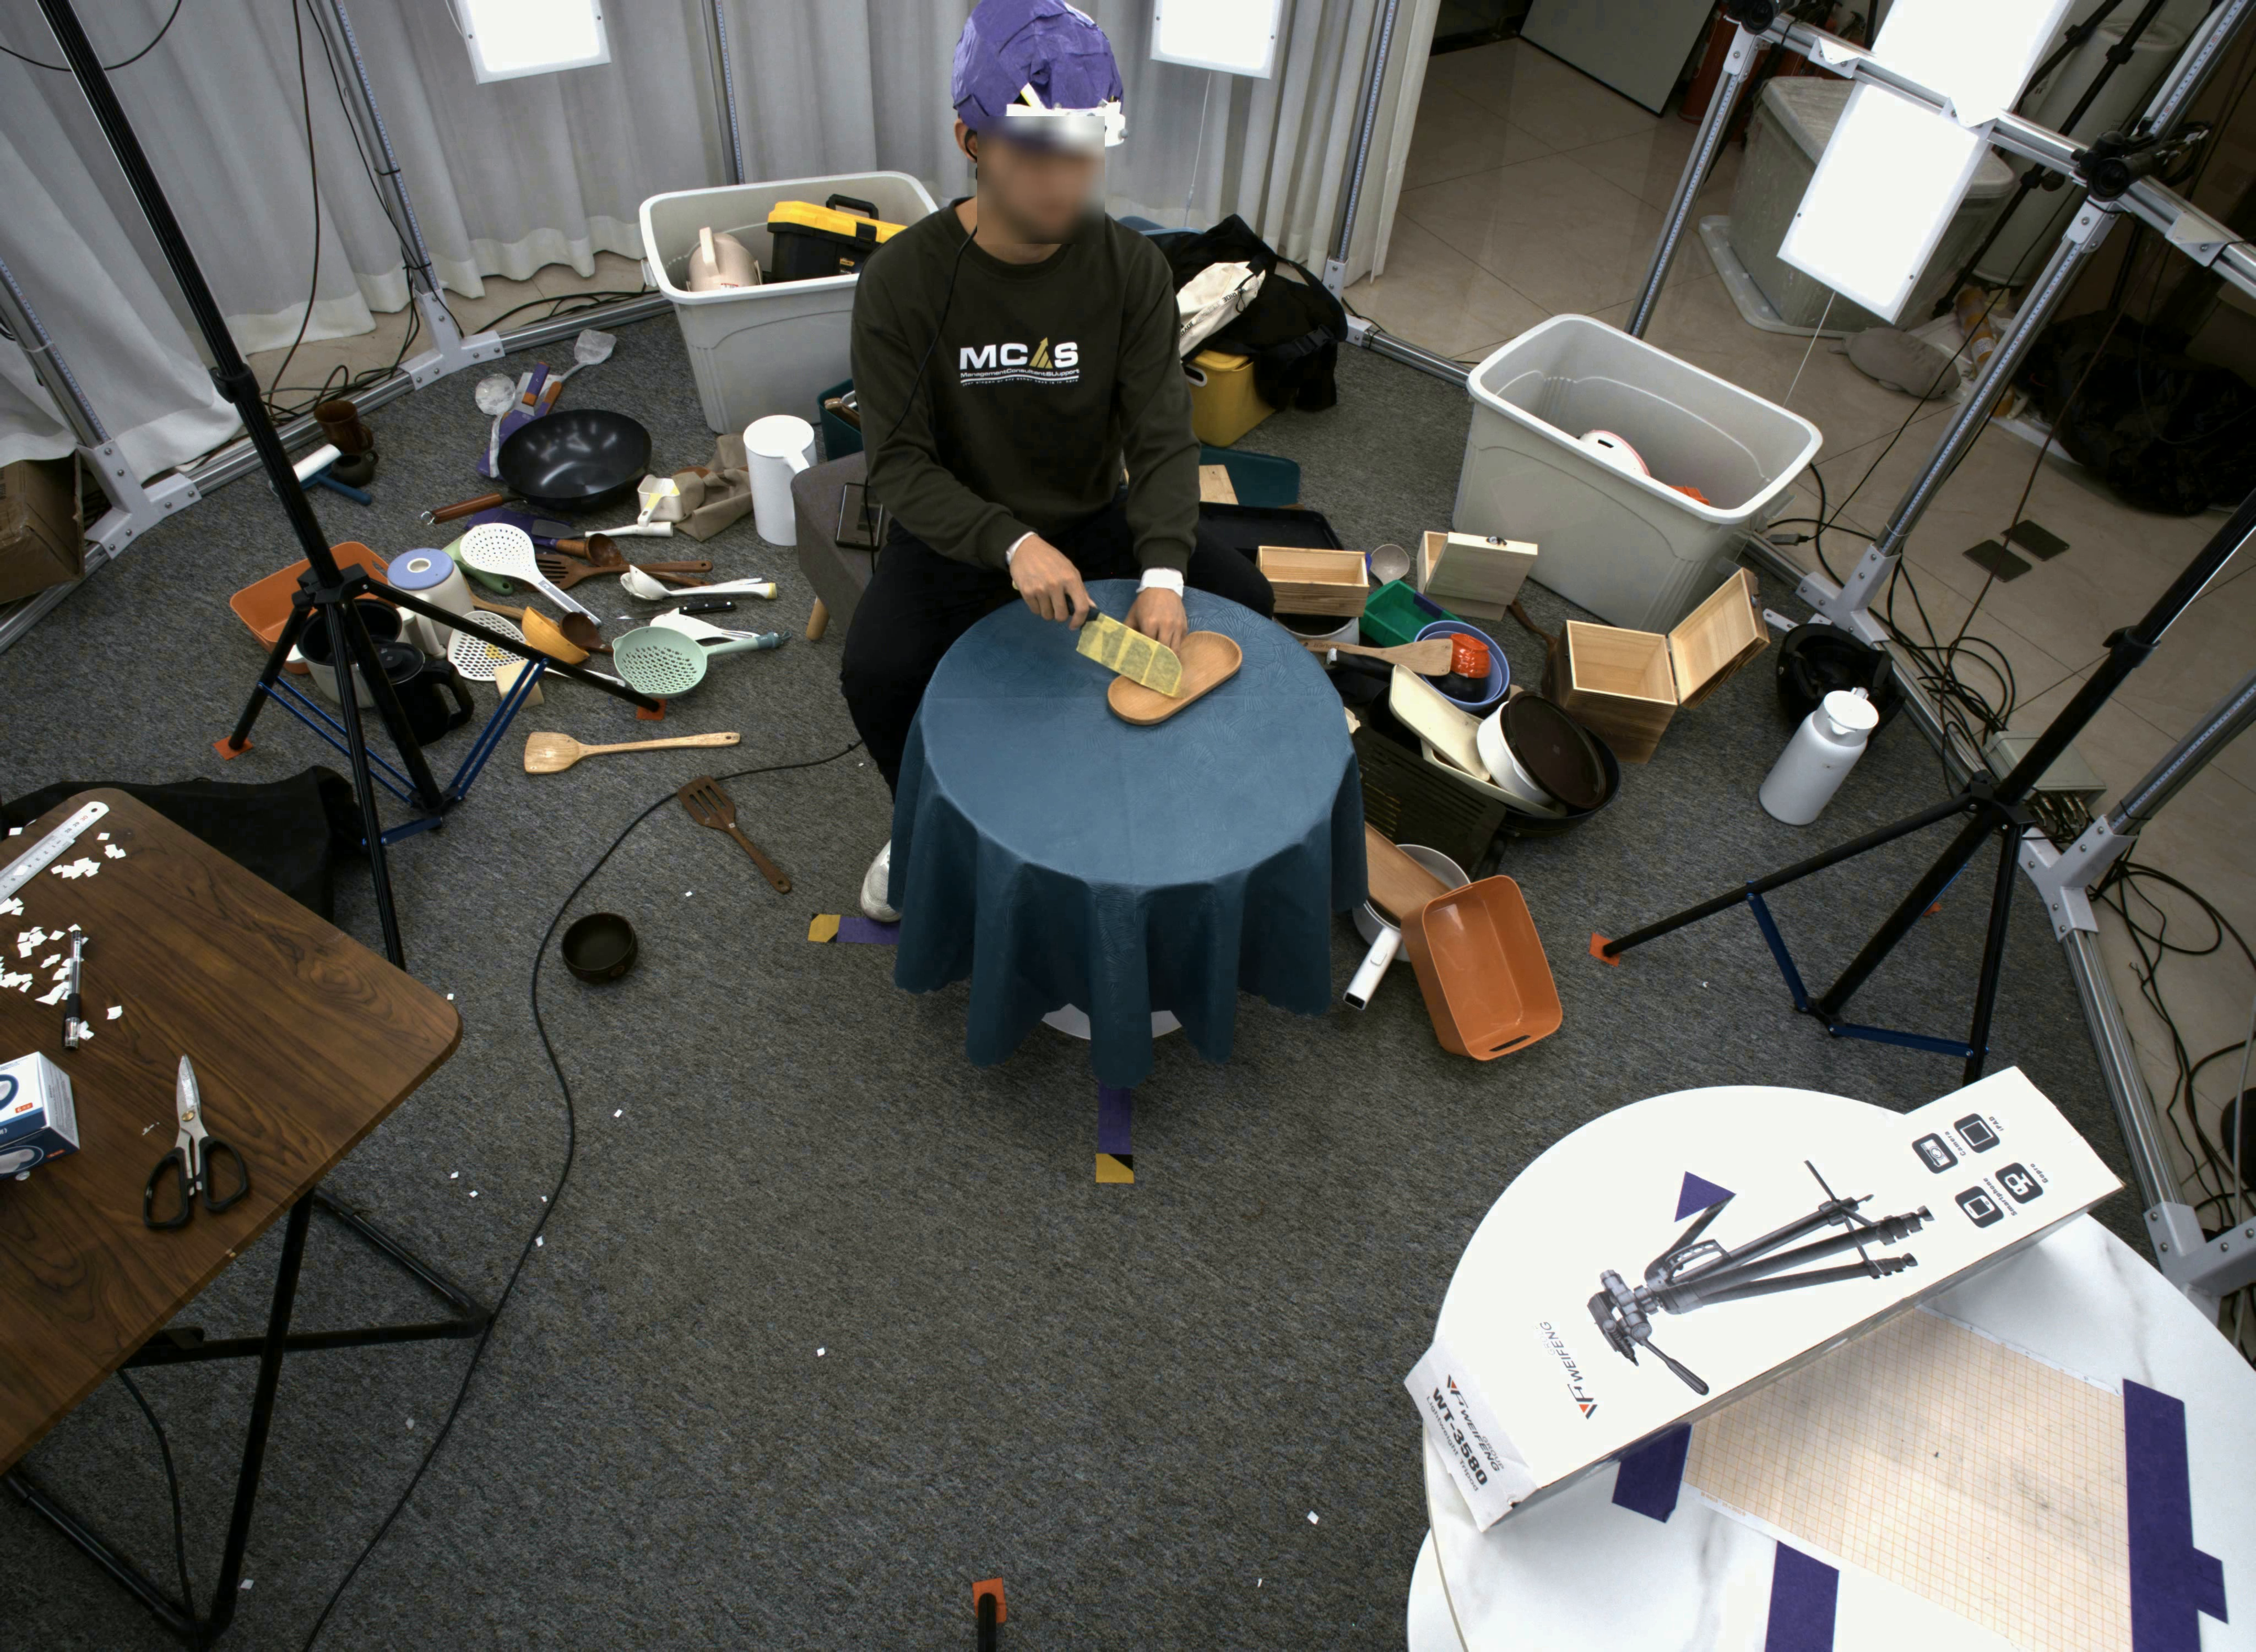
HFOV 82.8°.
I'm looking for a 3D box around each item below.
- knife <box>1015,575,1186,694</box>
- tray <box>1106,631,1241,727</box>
[{"bbox_3d":[-0.040,-0.272,1.826,0.291,0.079,0.027,32,33,10],"label":"knife"},{"bbox_3d":[0.067,-0.213,1.846,0.233,0.020,0.103,-36,58,-27],"label":"tray"}]
